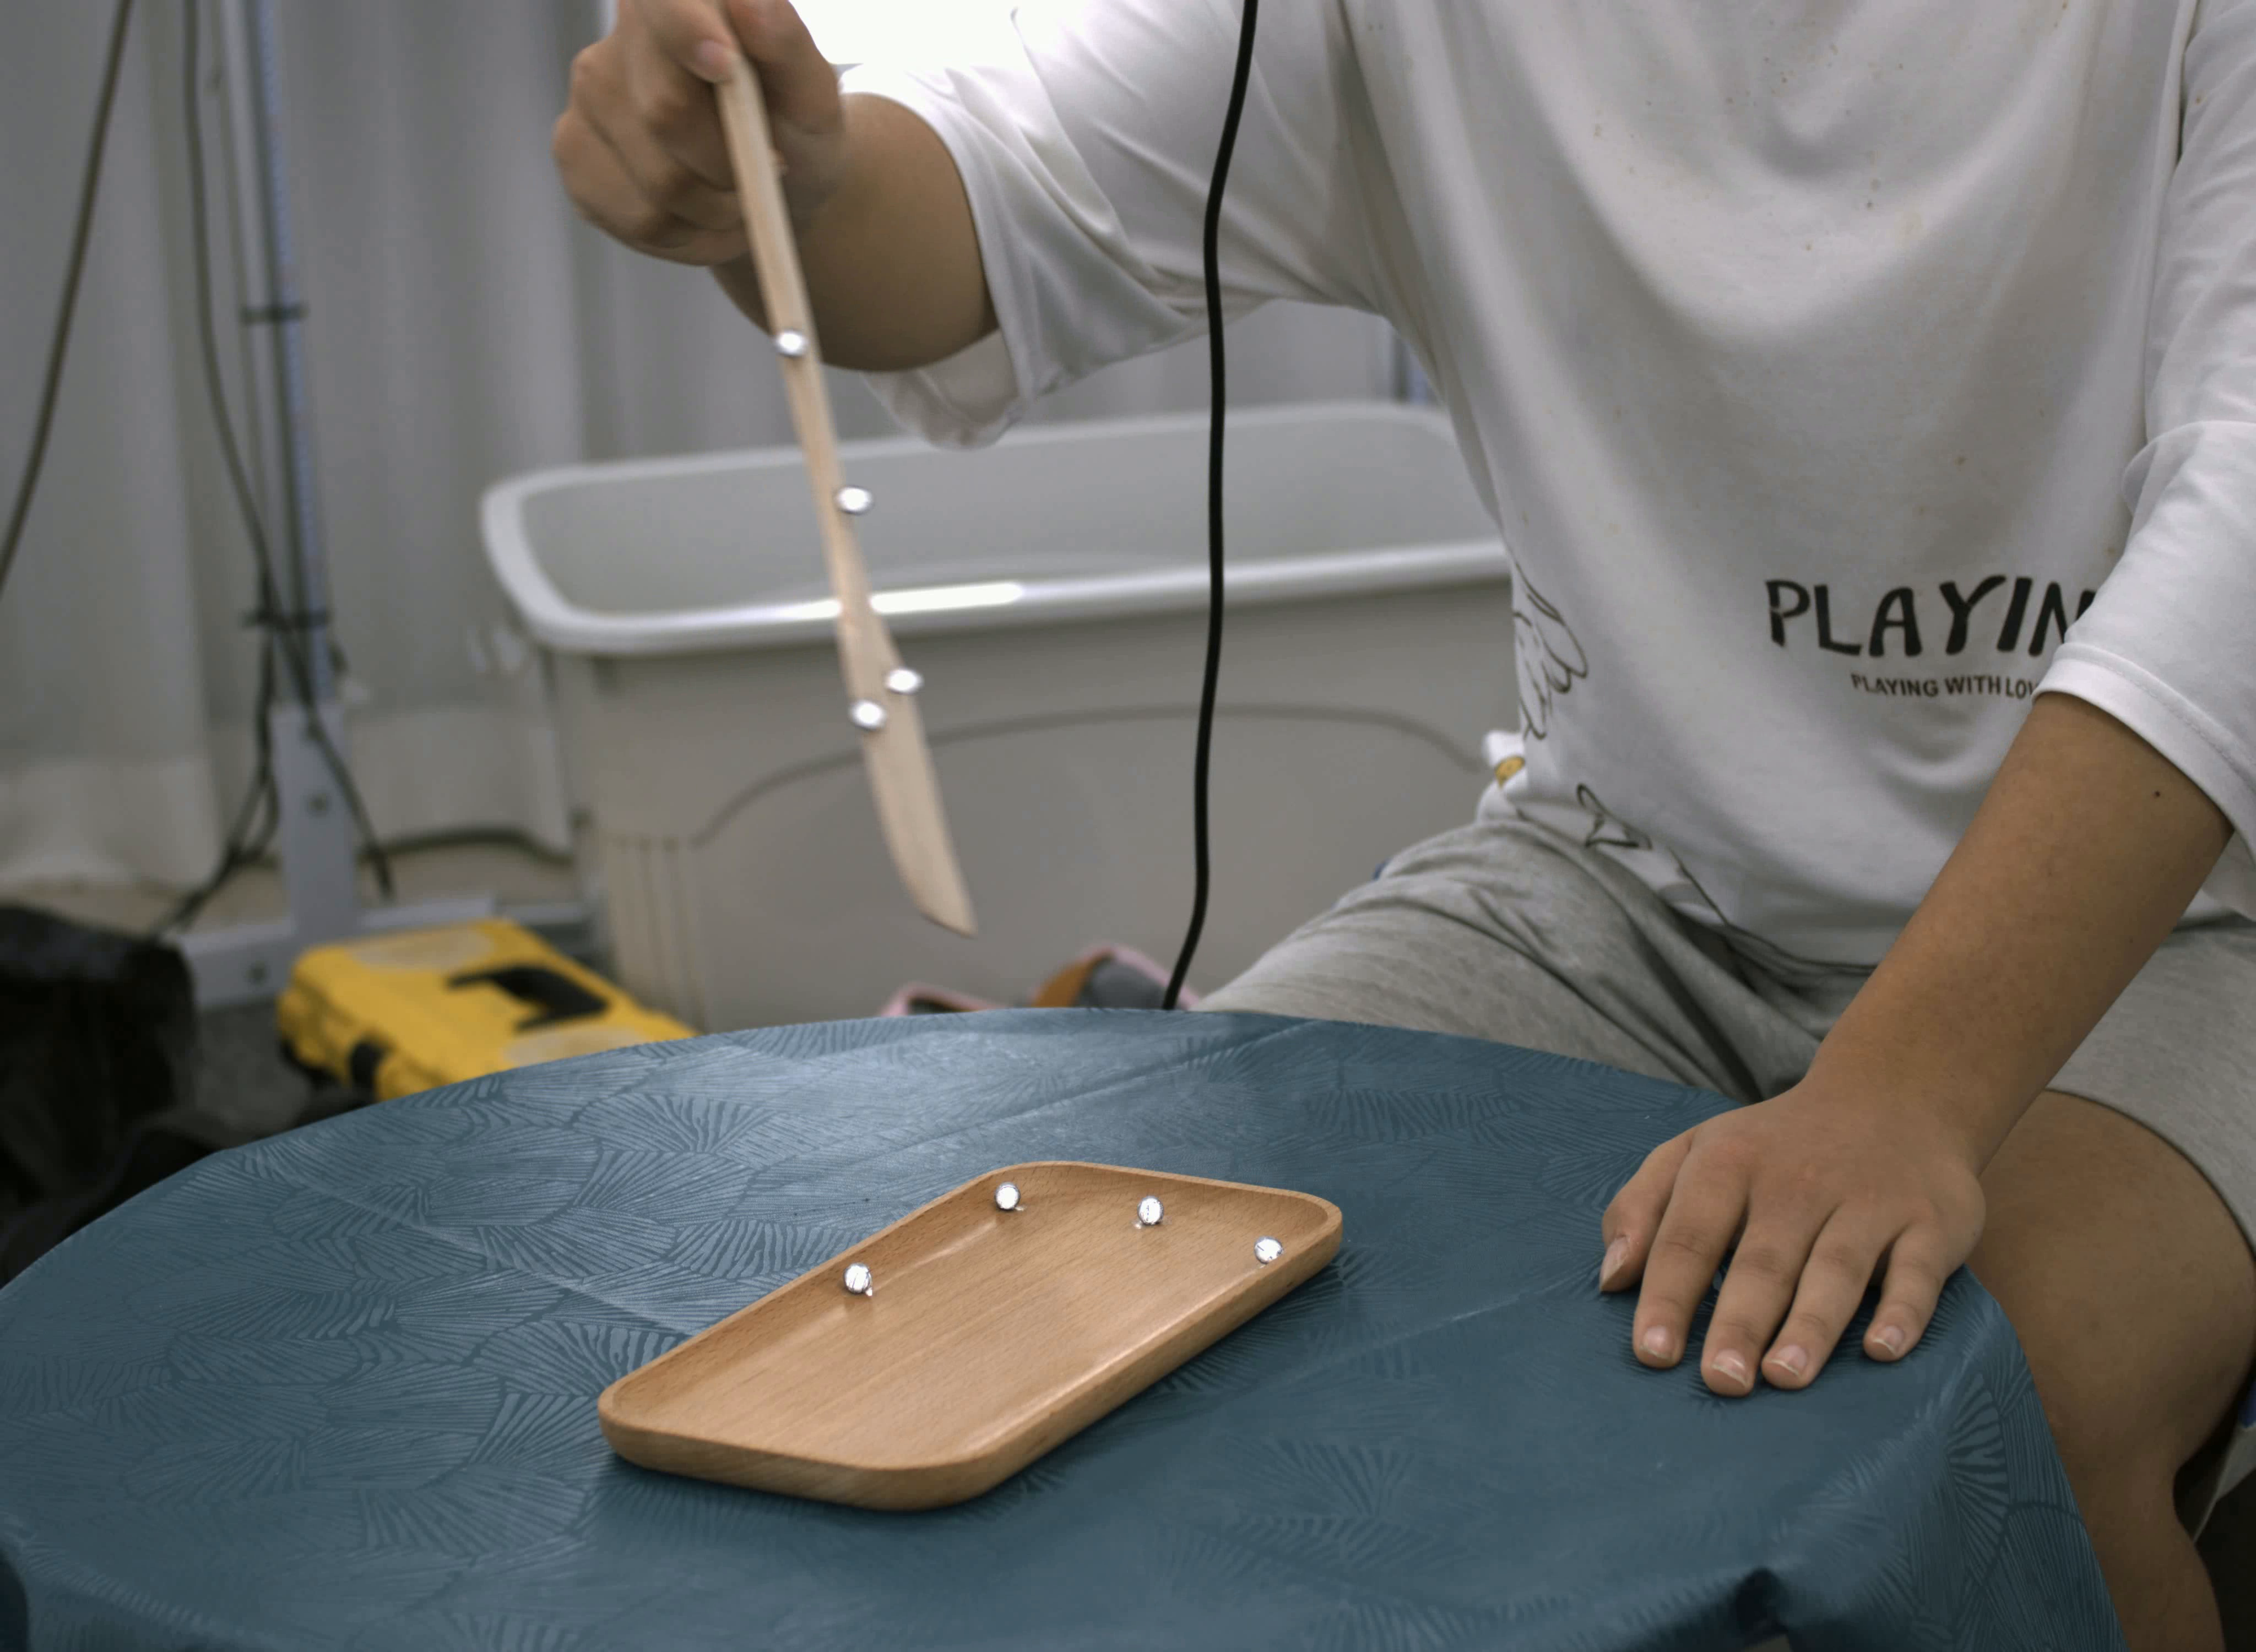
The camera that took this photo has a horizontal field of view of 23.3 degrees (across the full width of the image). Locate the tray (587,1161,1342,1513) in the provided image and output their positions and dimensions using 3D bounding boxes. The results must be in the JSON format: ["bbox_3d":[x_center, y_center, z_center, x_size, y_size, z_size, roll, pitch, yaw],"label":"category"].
[{"bbox_3d":[-0.043,0.145,1.581,0.131,0.023,0.251,4,16,31],"label":"tray"}]

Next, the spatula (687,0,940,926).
[{"bbox_3d":[-0.095,-0.115,1.572,0.010,0.295,0.072,-14,-10,7],"label":"spatula"}]
